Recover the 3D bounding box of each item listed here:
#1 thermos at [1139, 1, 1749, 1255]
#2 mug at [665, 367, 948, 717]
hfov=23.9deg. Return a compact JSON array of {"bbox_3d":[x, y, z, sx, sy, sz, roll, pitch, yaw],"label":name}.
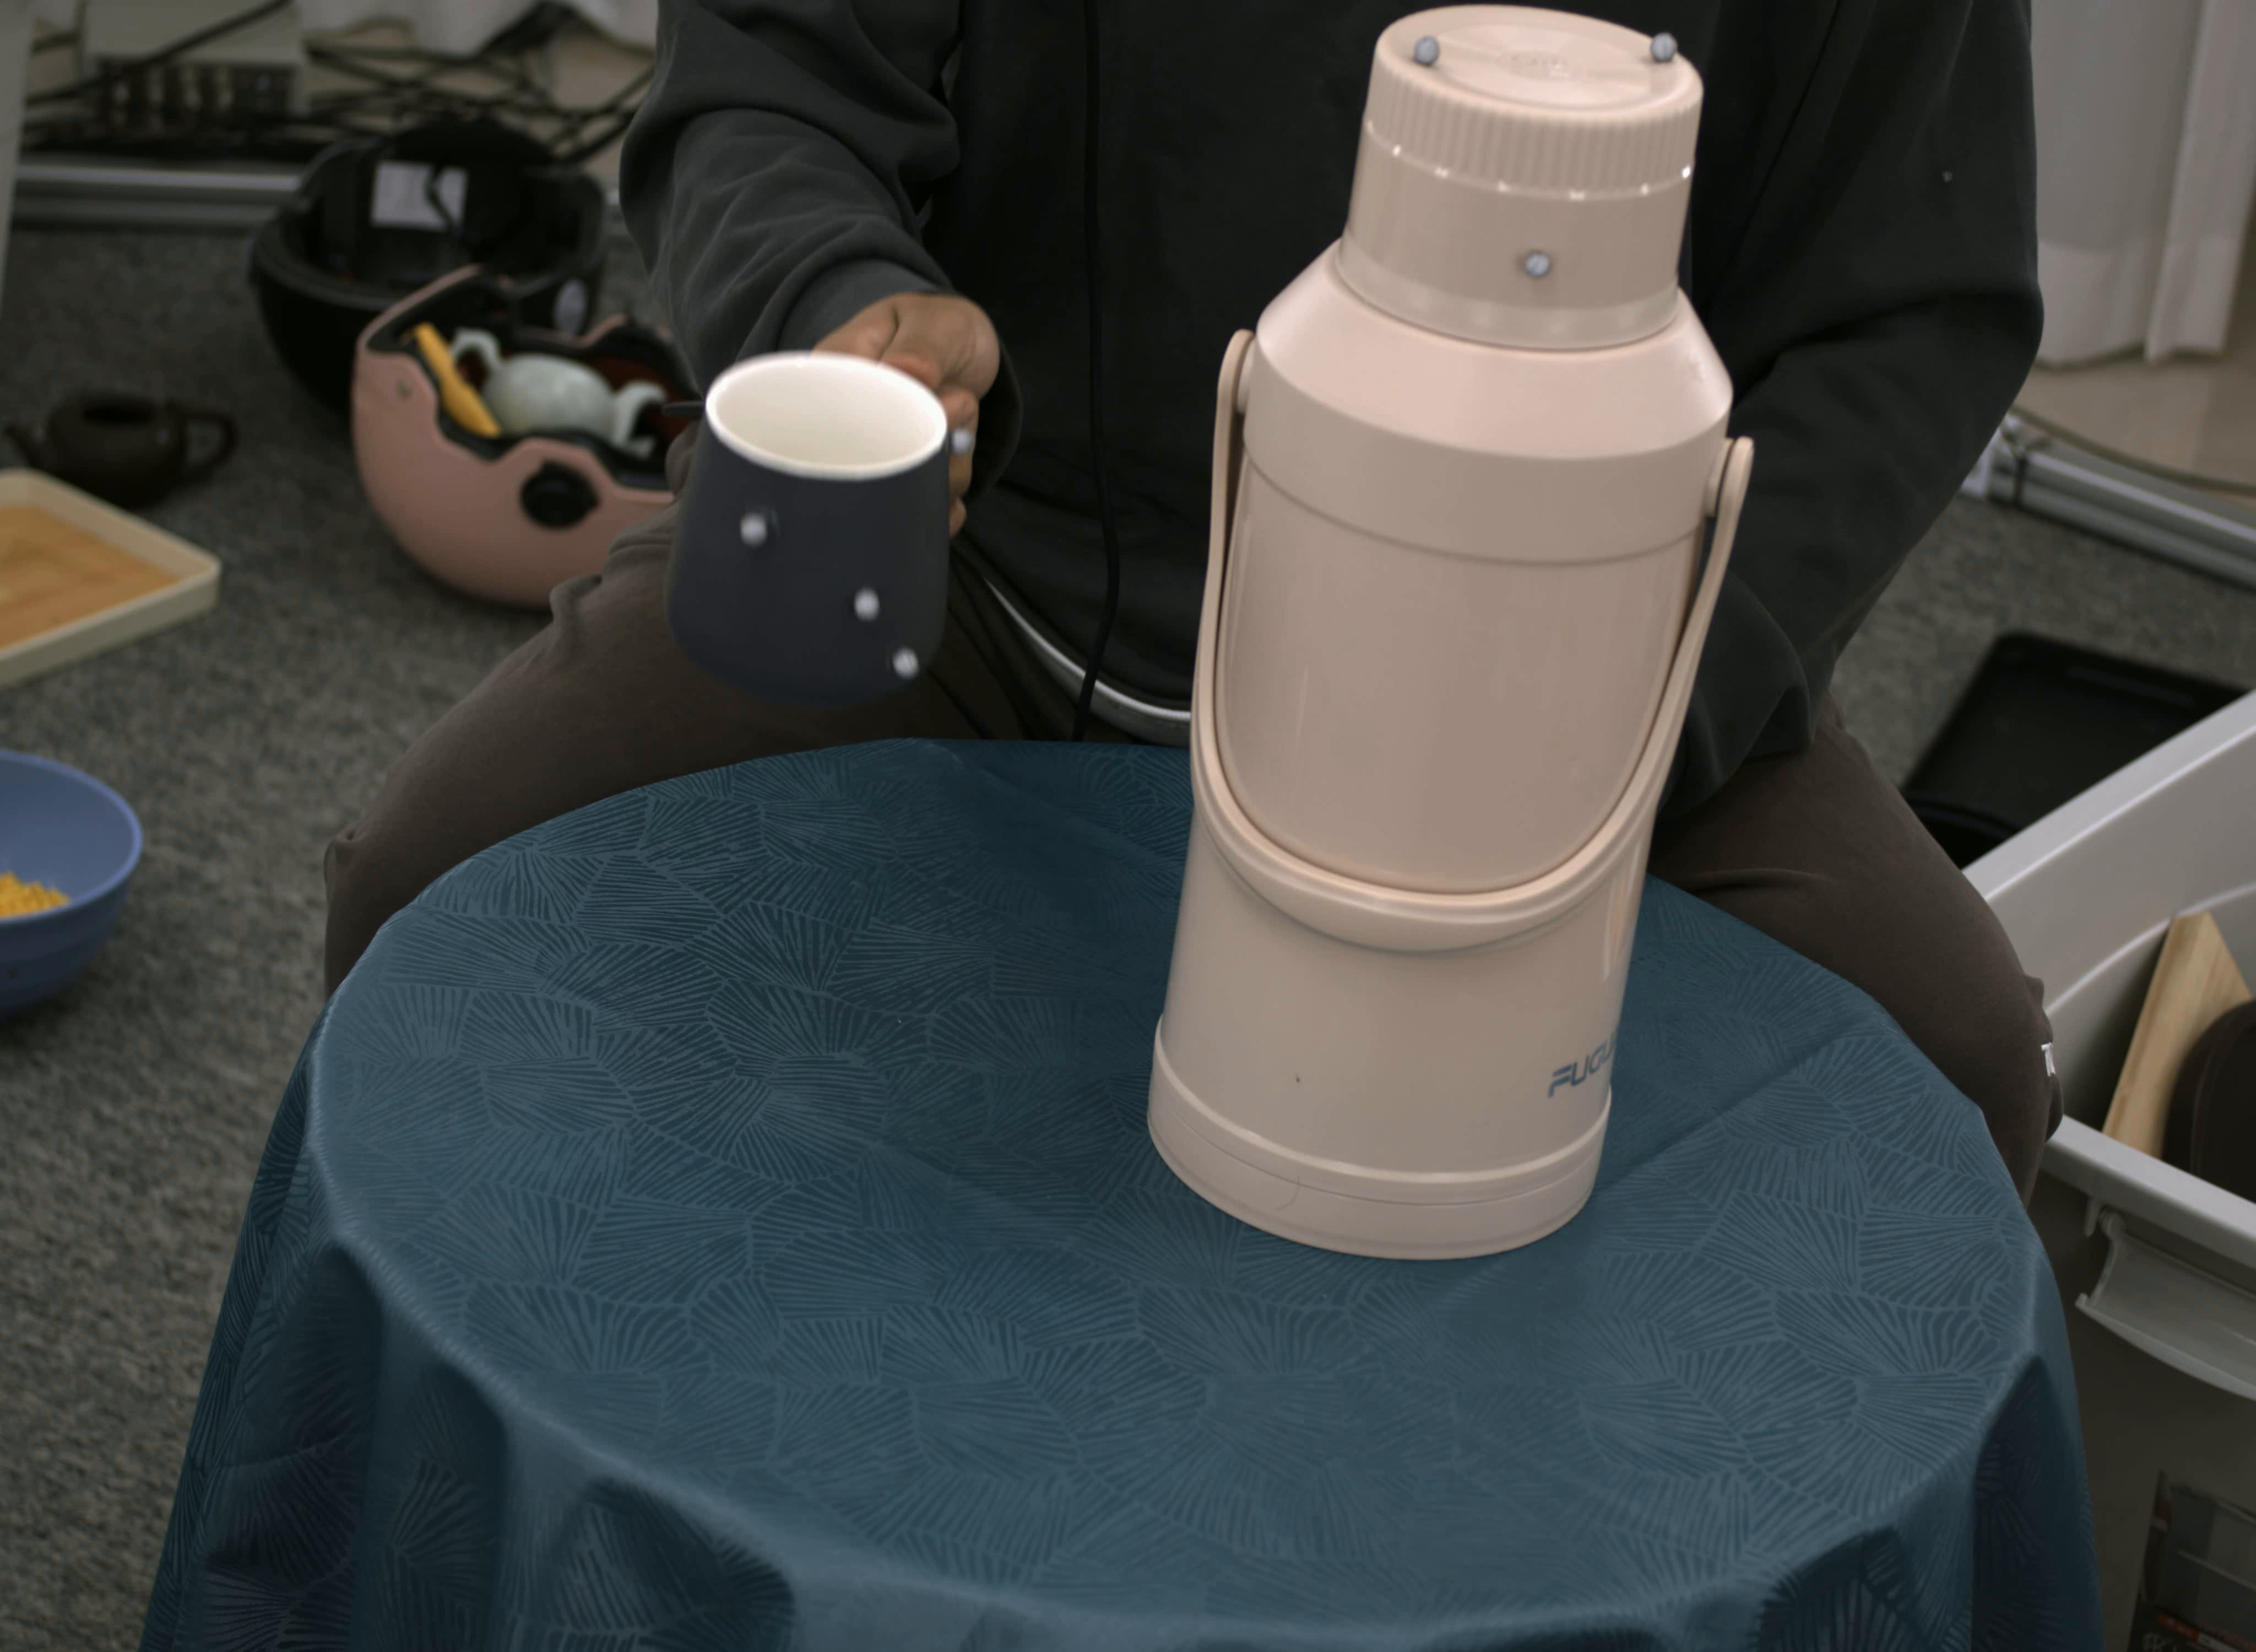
[{"bbox_3d":[0.111,-0.072,1.780,0.175,0.405,0.207,13,27,11],"label":"thermos"},{"bbox_3d":[-0.098,-0.100,1.760,0.094,0.089,0.123,19,35,16],"label":"mug"}]
